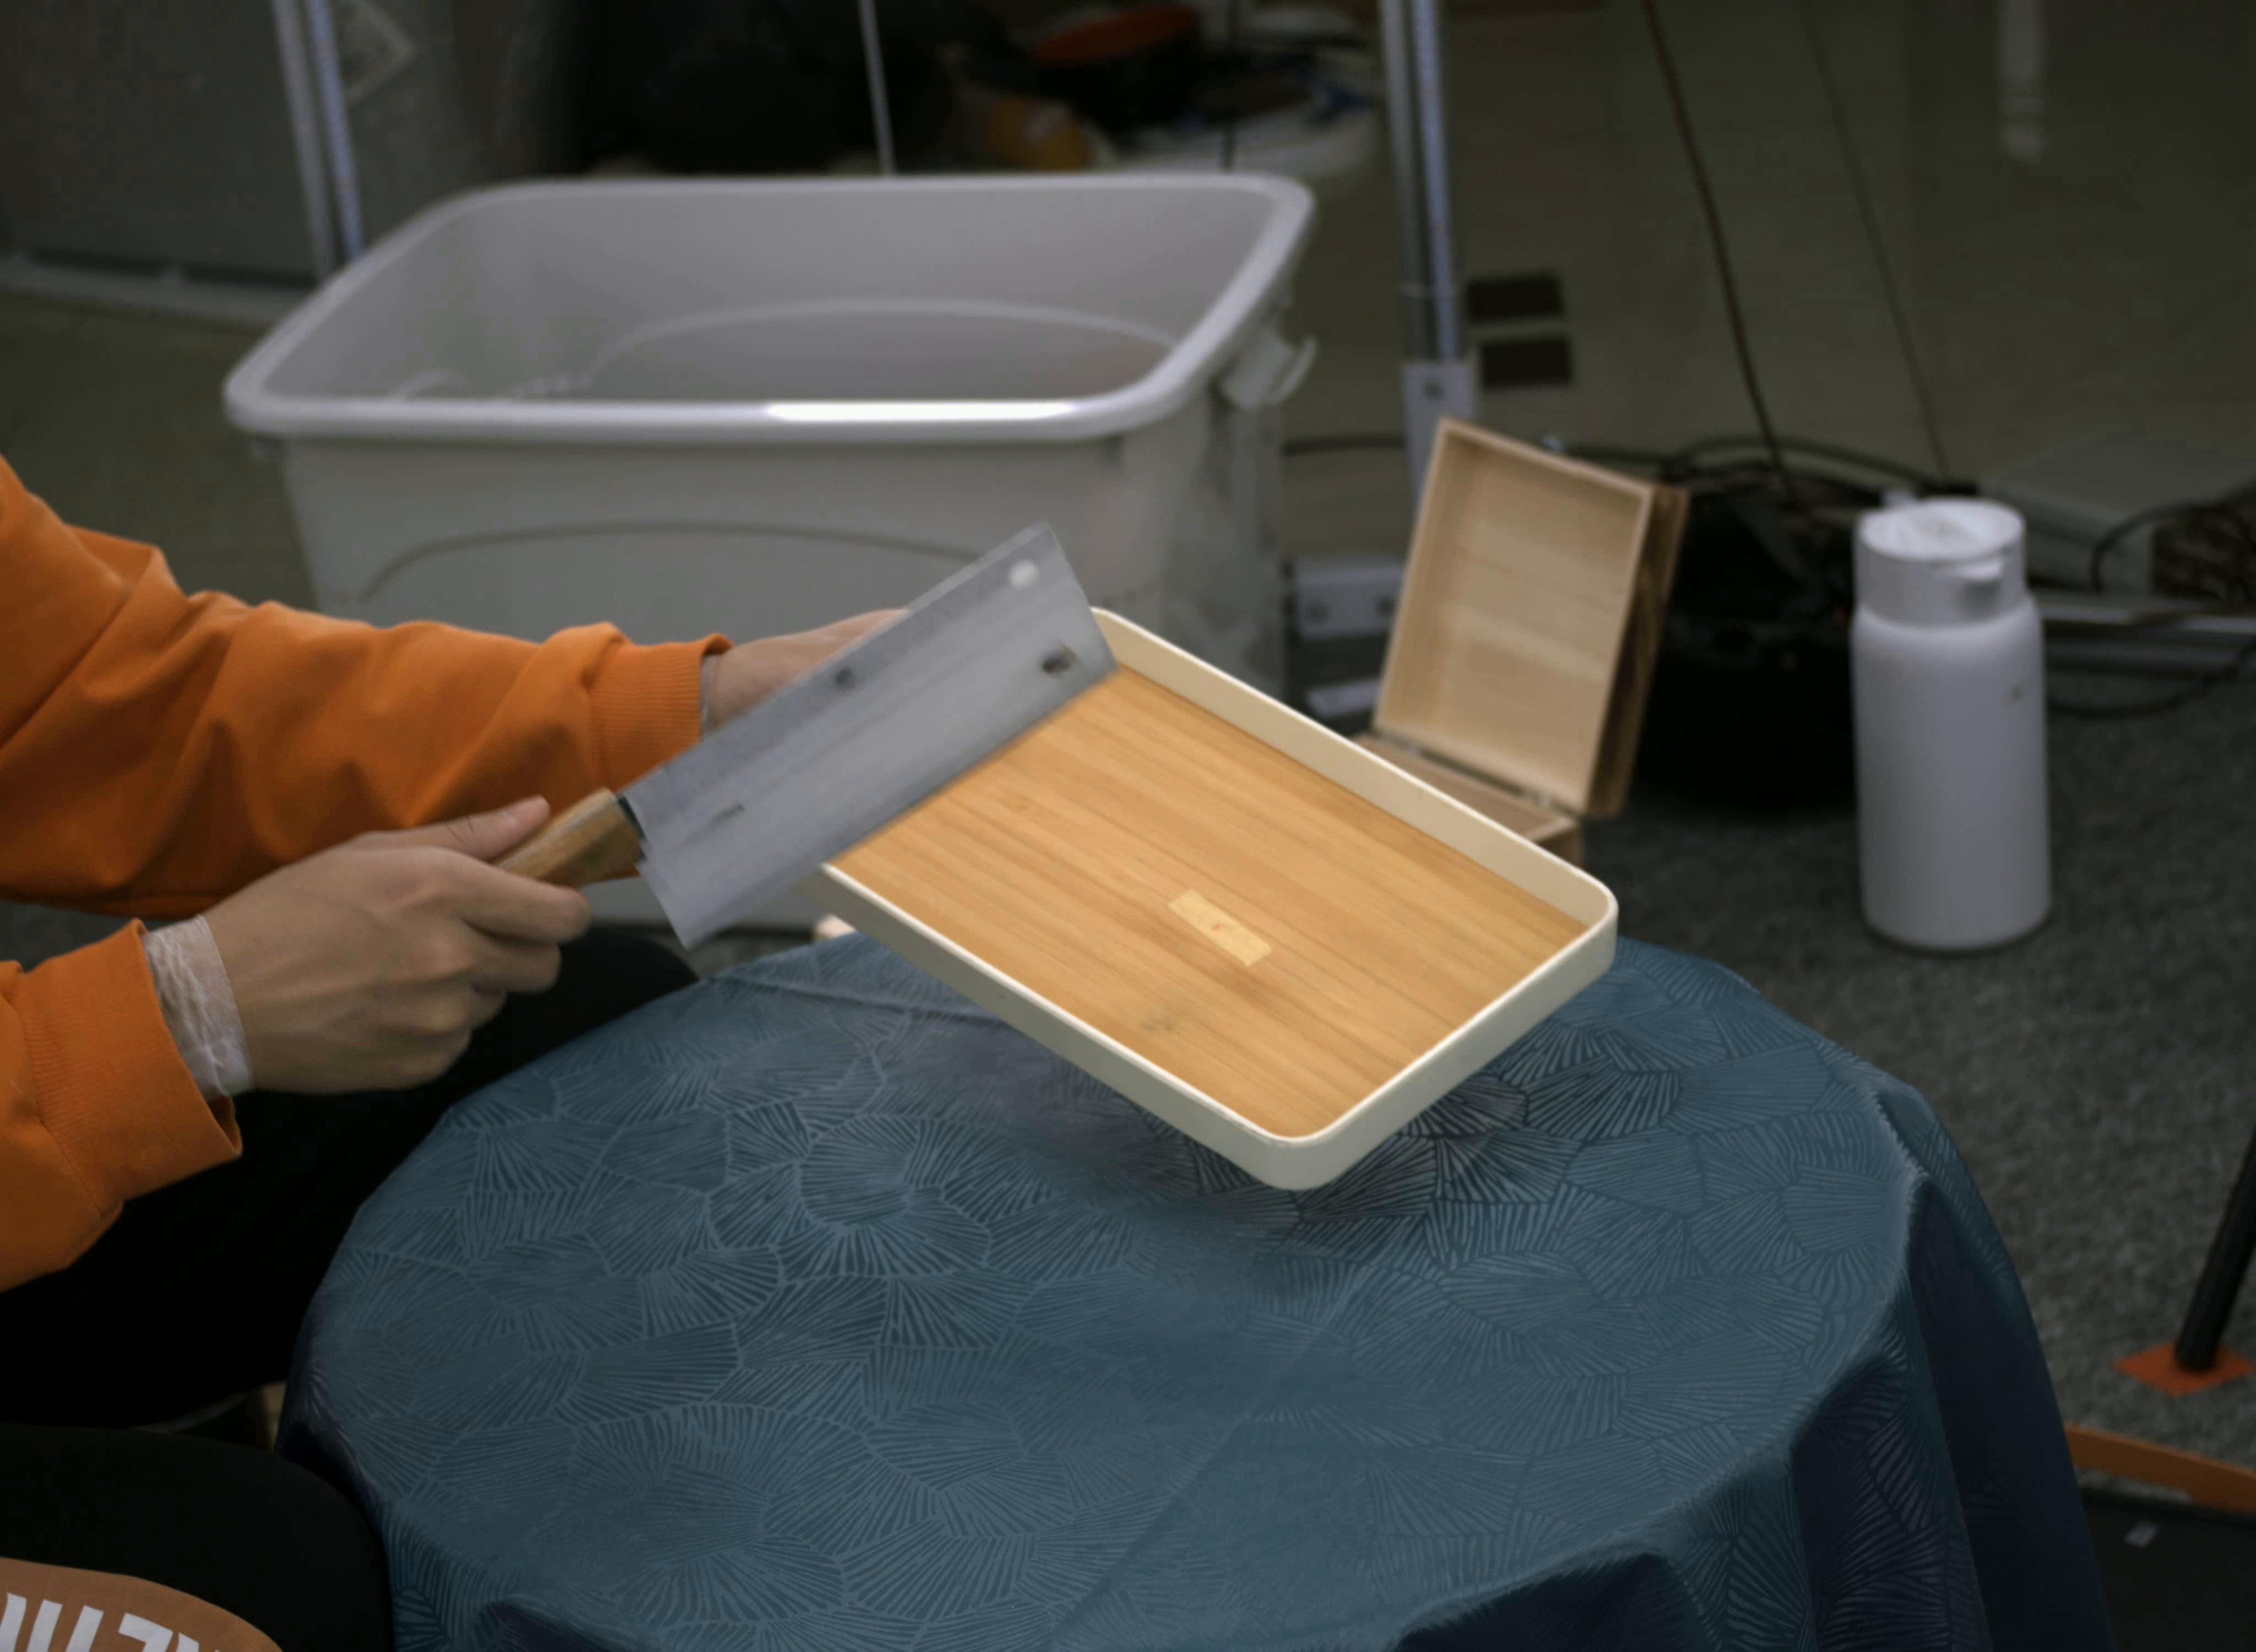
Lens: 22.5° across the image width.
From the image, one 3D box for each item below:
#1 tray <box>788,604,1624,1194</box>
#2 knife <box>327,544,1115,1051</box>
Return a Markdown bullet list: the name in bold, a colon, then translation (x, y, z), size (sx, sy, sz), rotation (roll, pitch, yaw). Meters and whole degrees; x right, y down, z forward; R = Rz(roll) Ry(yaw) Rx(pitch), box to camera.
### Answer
- **tray**: translation (0.024, 0.023, 2.187), size (0.297, 0.028, 0.190), rotation (32, 52, 34)
- **knife**: translation (-0.140, 0.003, 2.020), size (0.305, 0.094, 0.020), rotation (-32, 51, -3)
